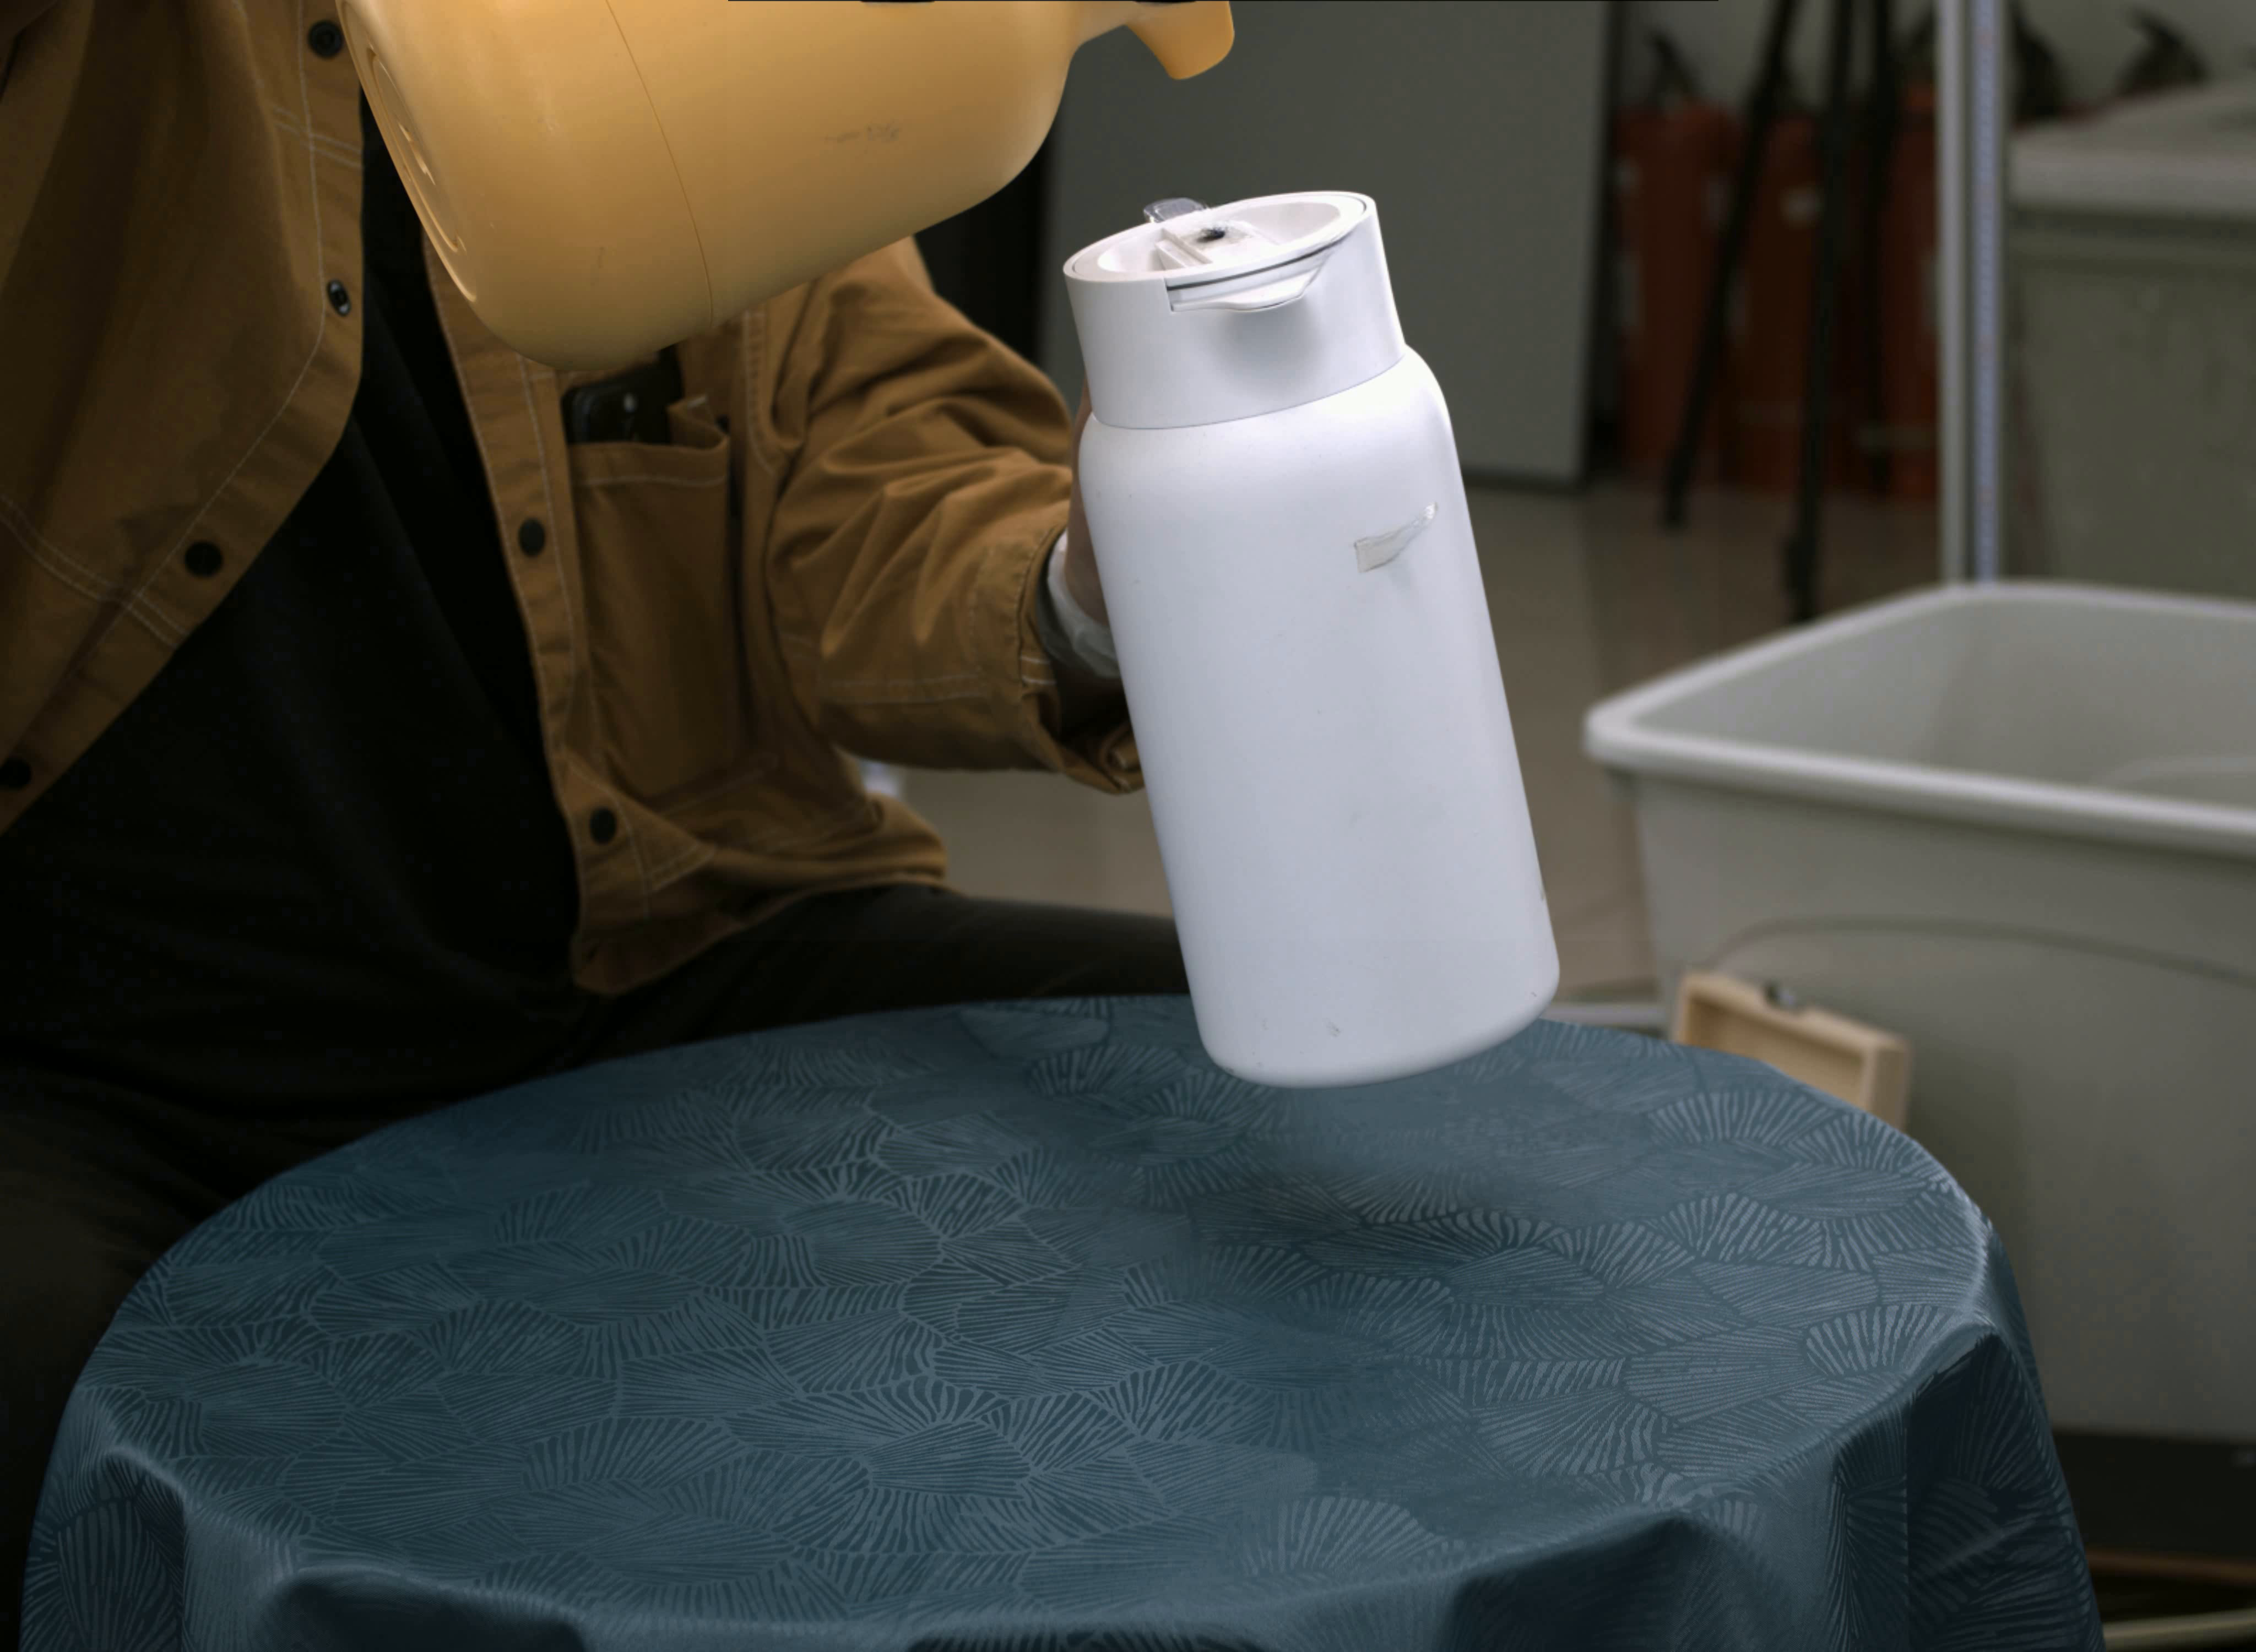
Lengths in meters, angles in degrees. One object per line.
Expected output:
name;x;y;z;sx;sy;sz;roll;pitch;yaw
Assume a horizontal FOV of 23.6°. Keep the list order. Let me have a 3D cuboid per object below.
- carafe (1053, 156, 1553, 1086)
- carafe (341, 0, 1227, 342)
carafe;0.048;-0.066;1.693;0.122;0.271;0.174;-17;16;-7
carafe;-0.099;-0.274;1.570;0.257;0.203;0.165;-26;24;-14
